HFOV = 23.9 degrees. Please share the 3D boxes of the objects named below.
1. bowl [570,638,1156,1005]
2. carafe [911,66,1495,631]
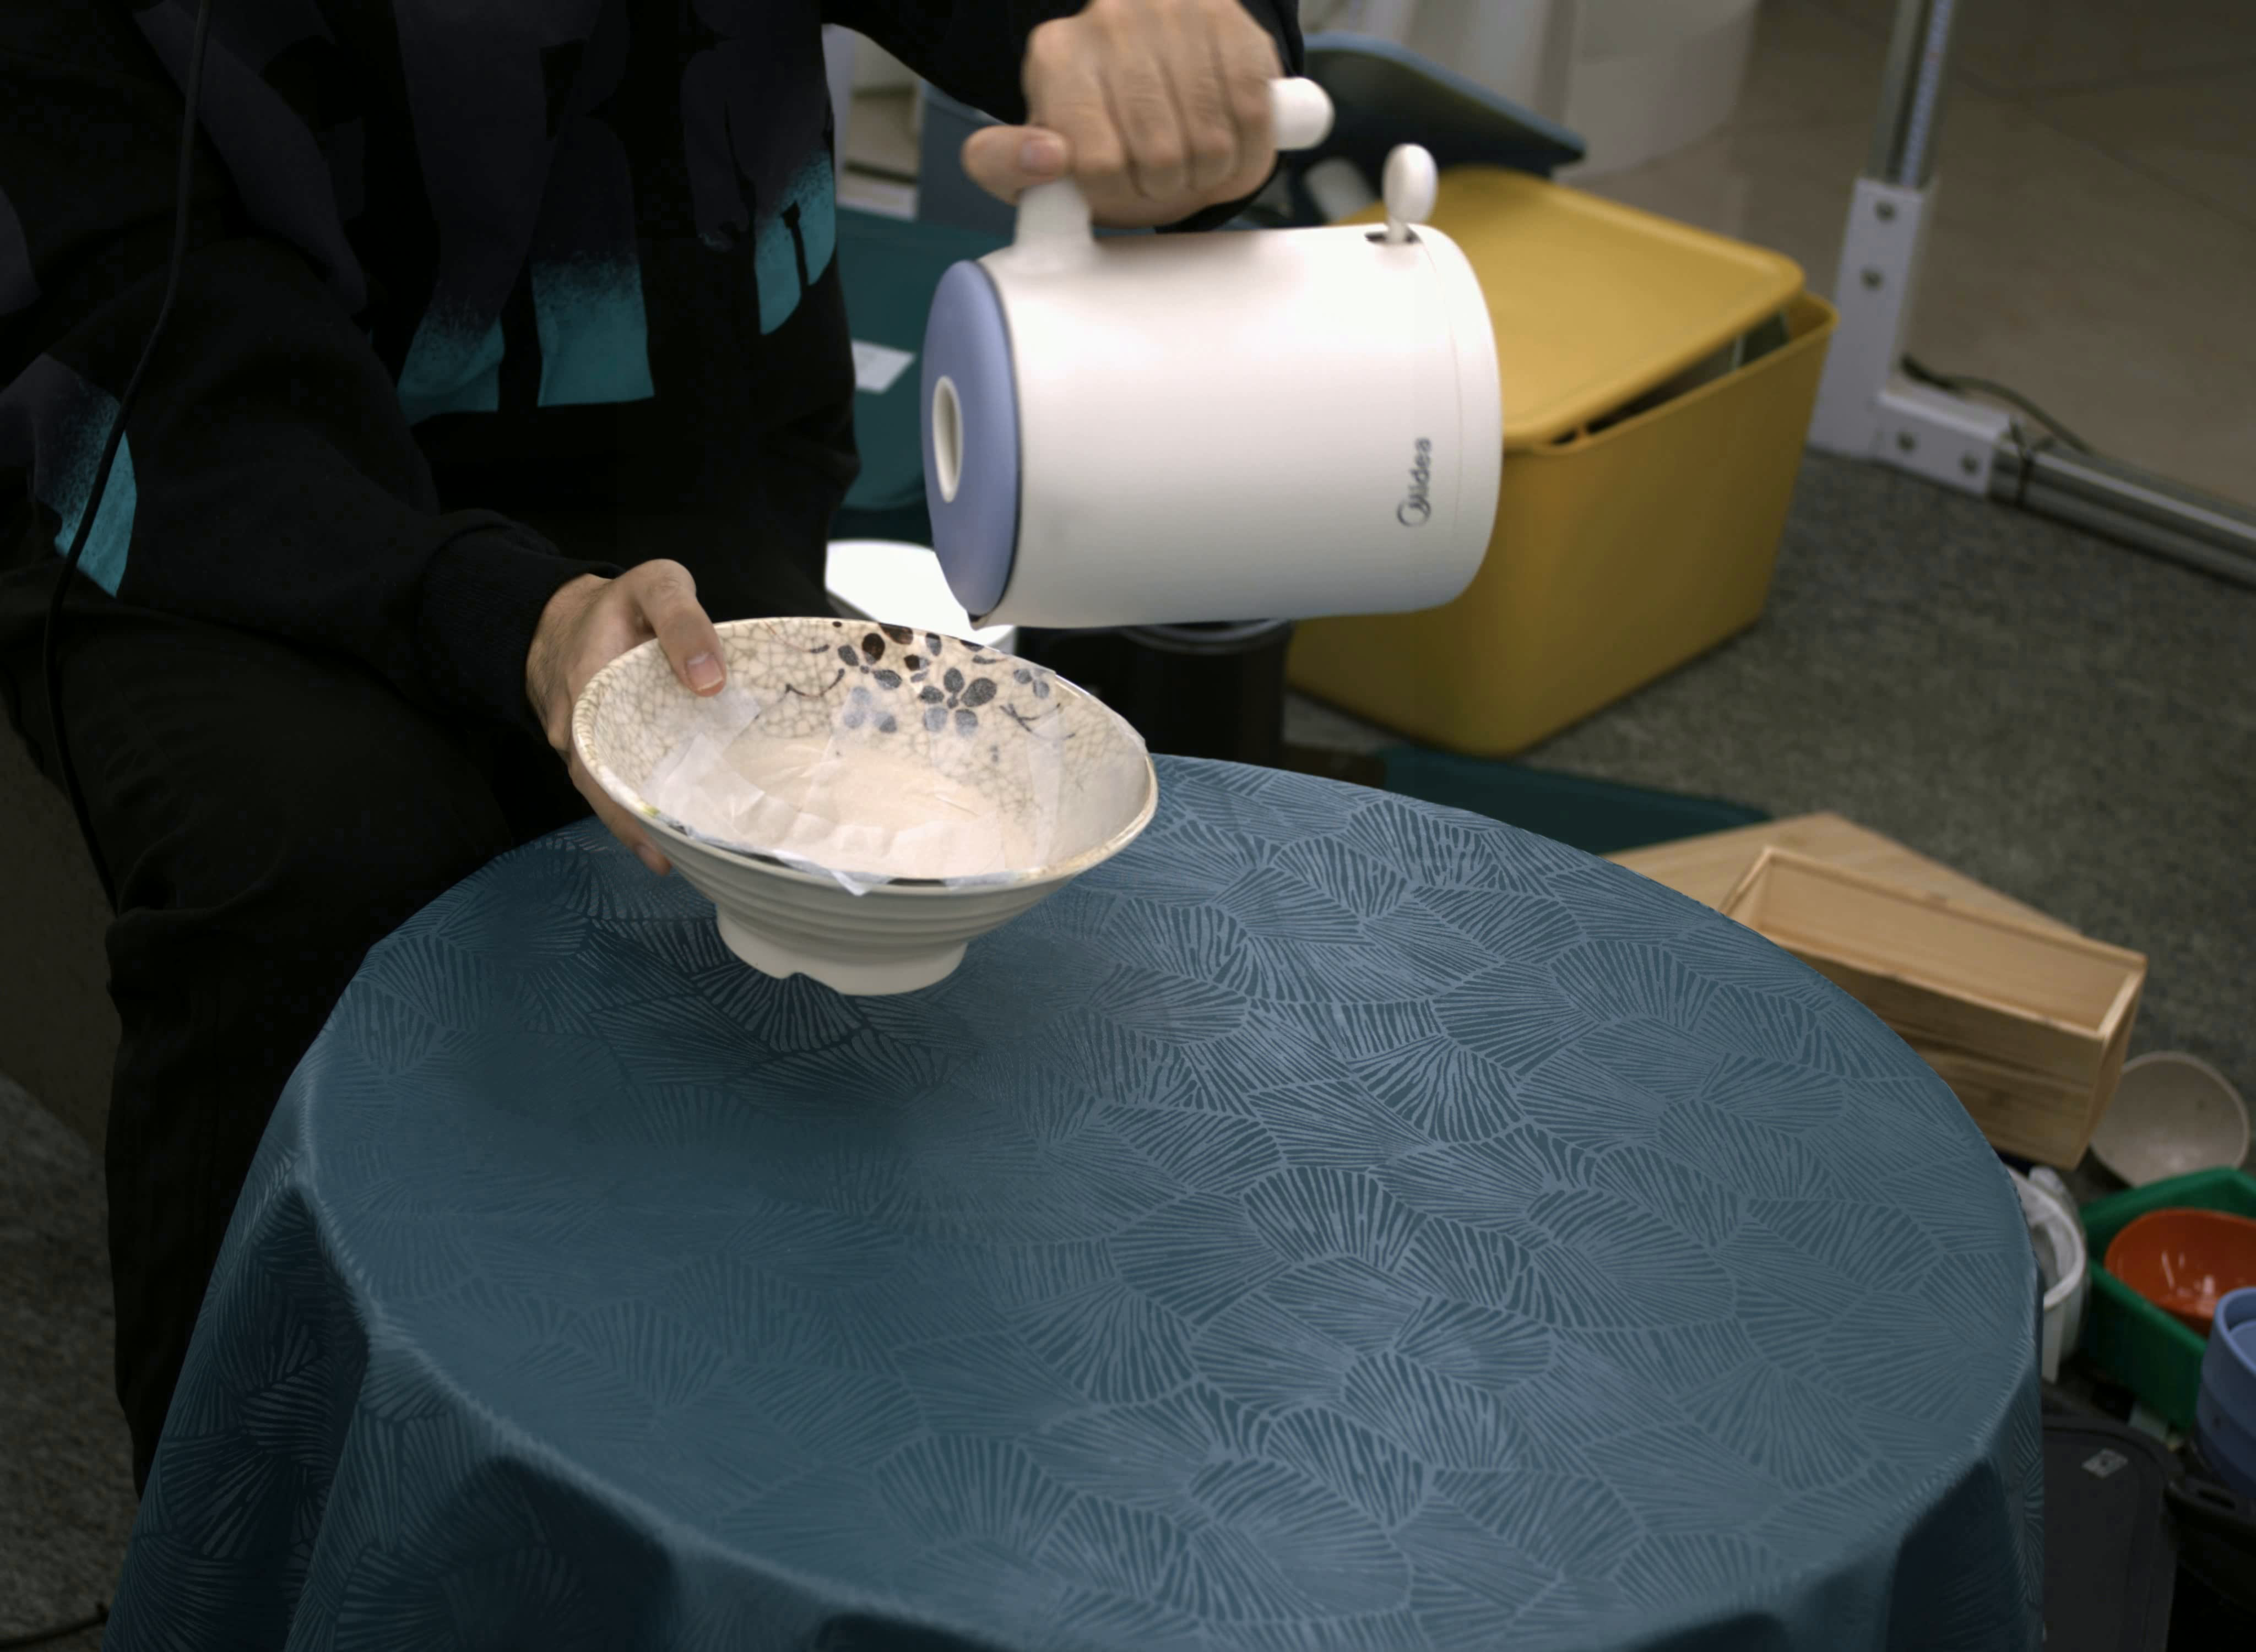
[{"bbox_3d":[-0.095,0.008,1.844,0.203,0.078,0.205,7,23,-3],"label":"bowl"},{"bbox_3d":[0.025,-0.159,1.779,0.181,0.191,0.133,-2,20,-15],"label":"carafe"}]
